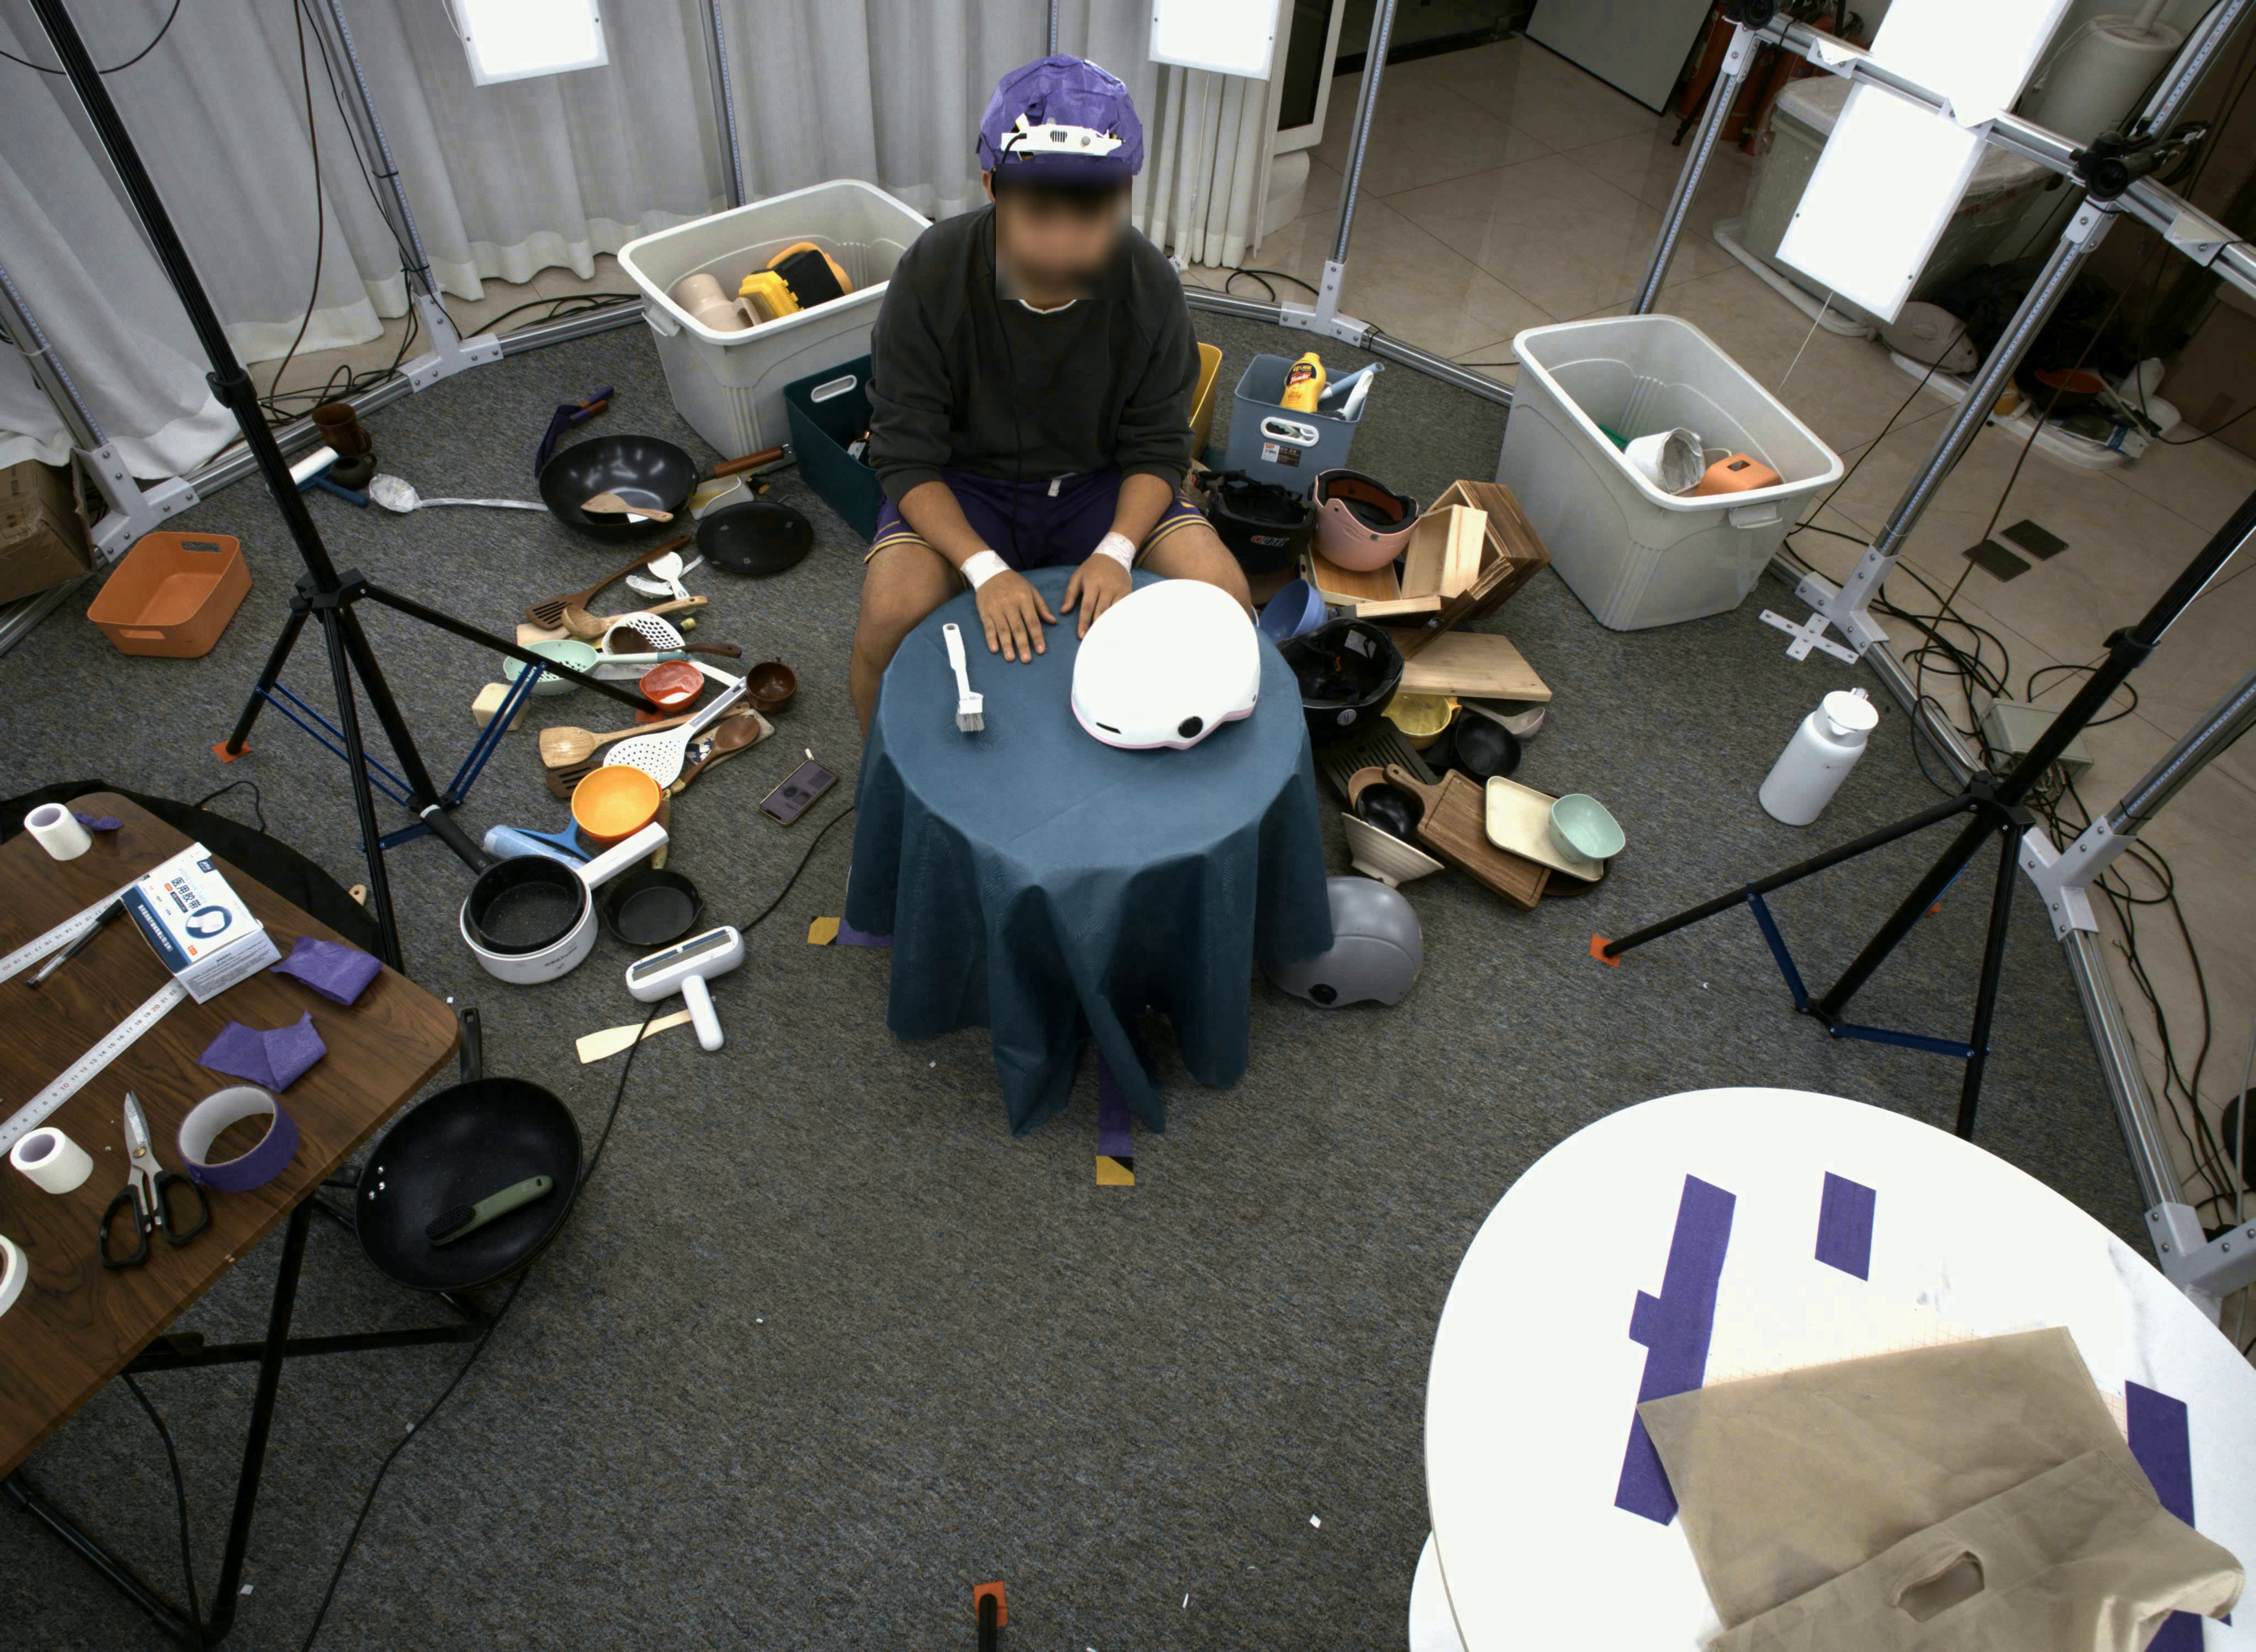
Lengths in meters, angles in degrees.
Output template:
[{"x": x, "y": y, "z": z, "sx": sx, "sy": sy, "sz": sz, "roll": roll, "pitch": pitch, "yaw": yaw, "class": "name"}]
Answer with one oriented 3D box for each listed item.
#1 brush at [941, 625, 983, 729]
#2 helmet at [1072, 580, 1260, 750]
[{"x": -0.237, "y": -0.209, "z": 1.817, "sx": 0.034, "sy": 0.049, "sz": 0.249, "roll": -8, "pitch": 37, "yaw": -11, "class": "brush"}, {"x": 0.056, "y": -0.238, "z": 1.771, "sx": 0.269, "sy": 0.163, "sz": 0.242, "roll": -19, "pitch": 53, "yaw": -19, "class": "helmet"}]
